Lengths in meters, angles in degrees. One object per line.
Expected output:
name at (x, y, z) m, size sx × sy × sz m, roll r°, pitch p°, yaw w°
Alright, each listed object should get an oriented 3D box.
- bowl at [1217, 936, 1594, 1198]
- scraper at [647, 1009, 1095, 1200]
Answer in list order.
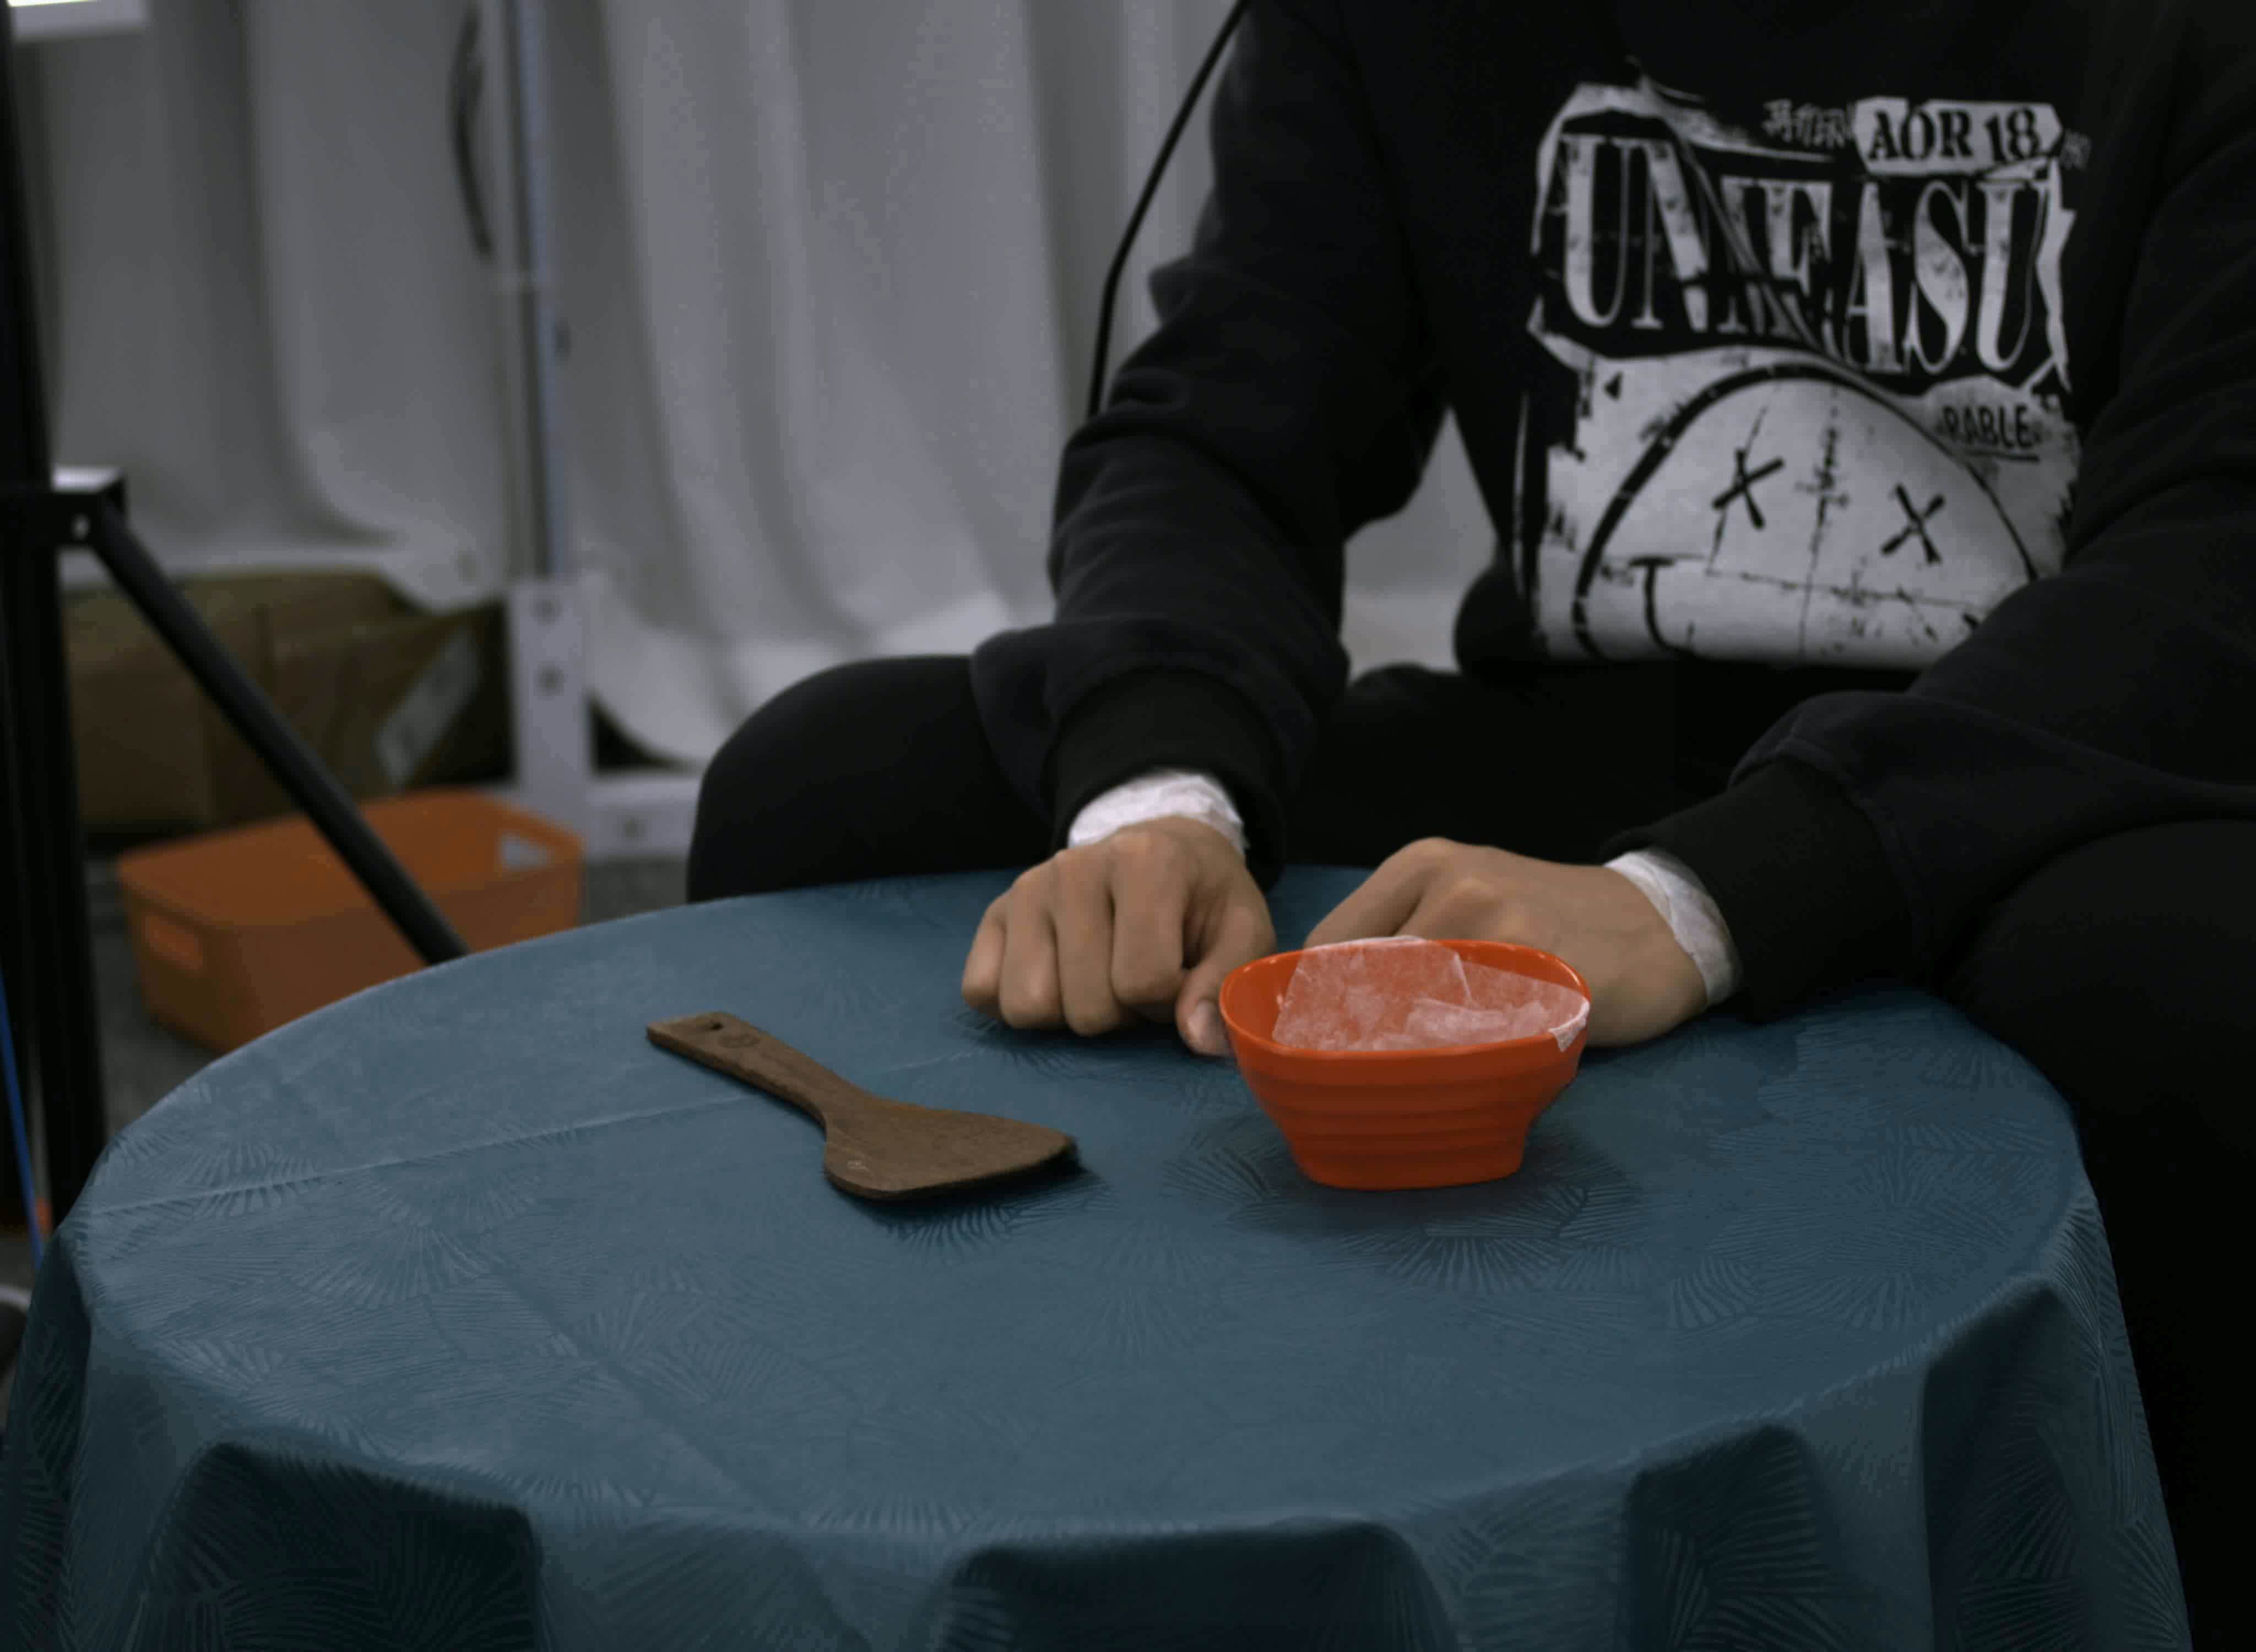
bowl at (0.083, 0.074, 1.574) m, size 0.118 × 0.051 × 0.119 m, roll -5°, pitch 17°, yaw 0°
scraper at (-0.091, 0.084, 1.643) m, size 0.074 × 0.011 × 0.216 m, roll -10°, pitch 17°, yaw -30°
